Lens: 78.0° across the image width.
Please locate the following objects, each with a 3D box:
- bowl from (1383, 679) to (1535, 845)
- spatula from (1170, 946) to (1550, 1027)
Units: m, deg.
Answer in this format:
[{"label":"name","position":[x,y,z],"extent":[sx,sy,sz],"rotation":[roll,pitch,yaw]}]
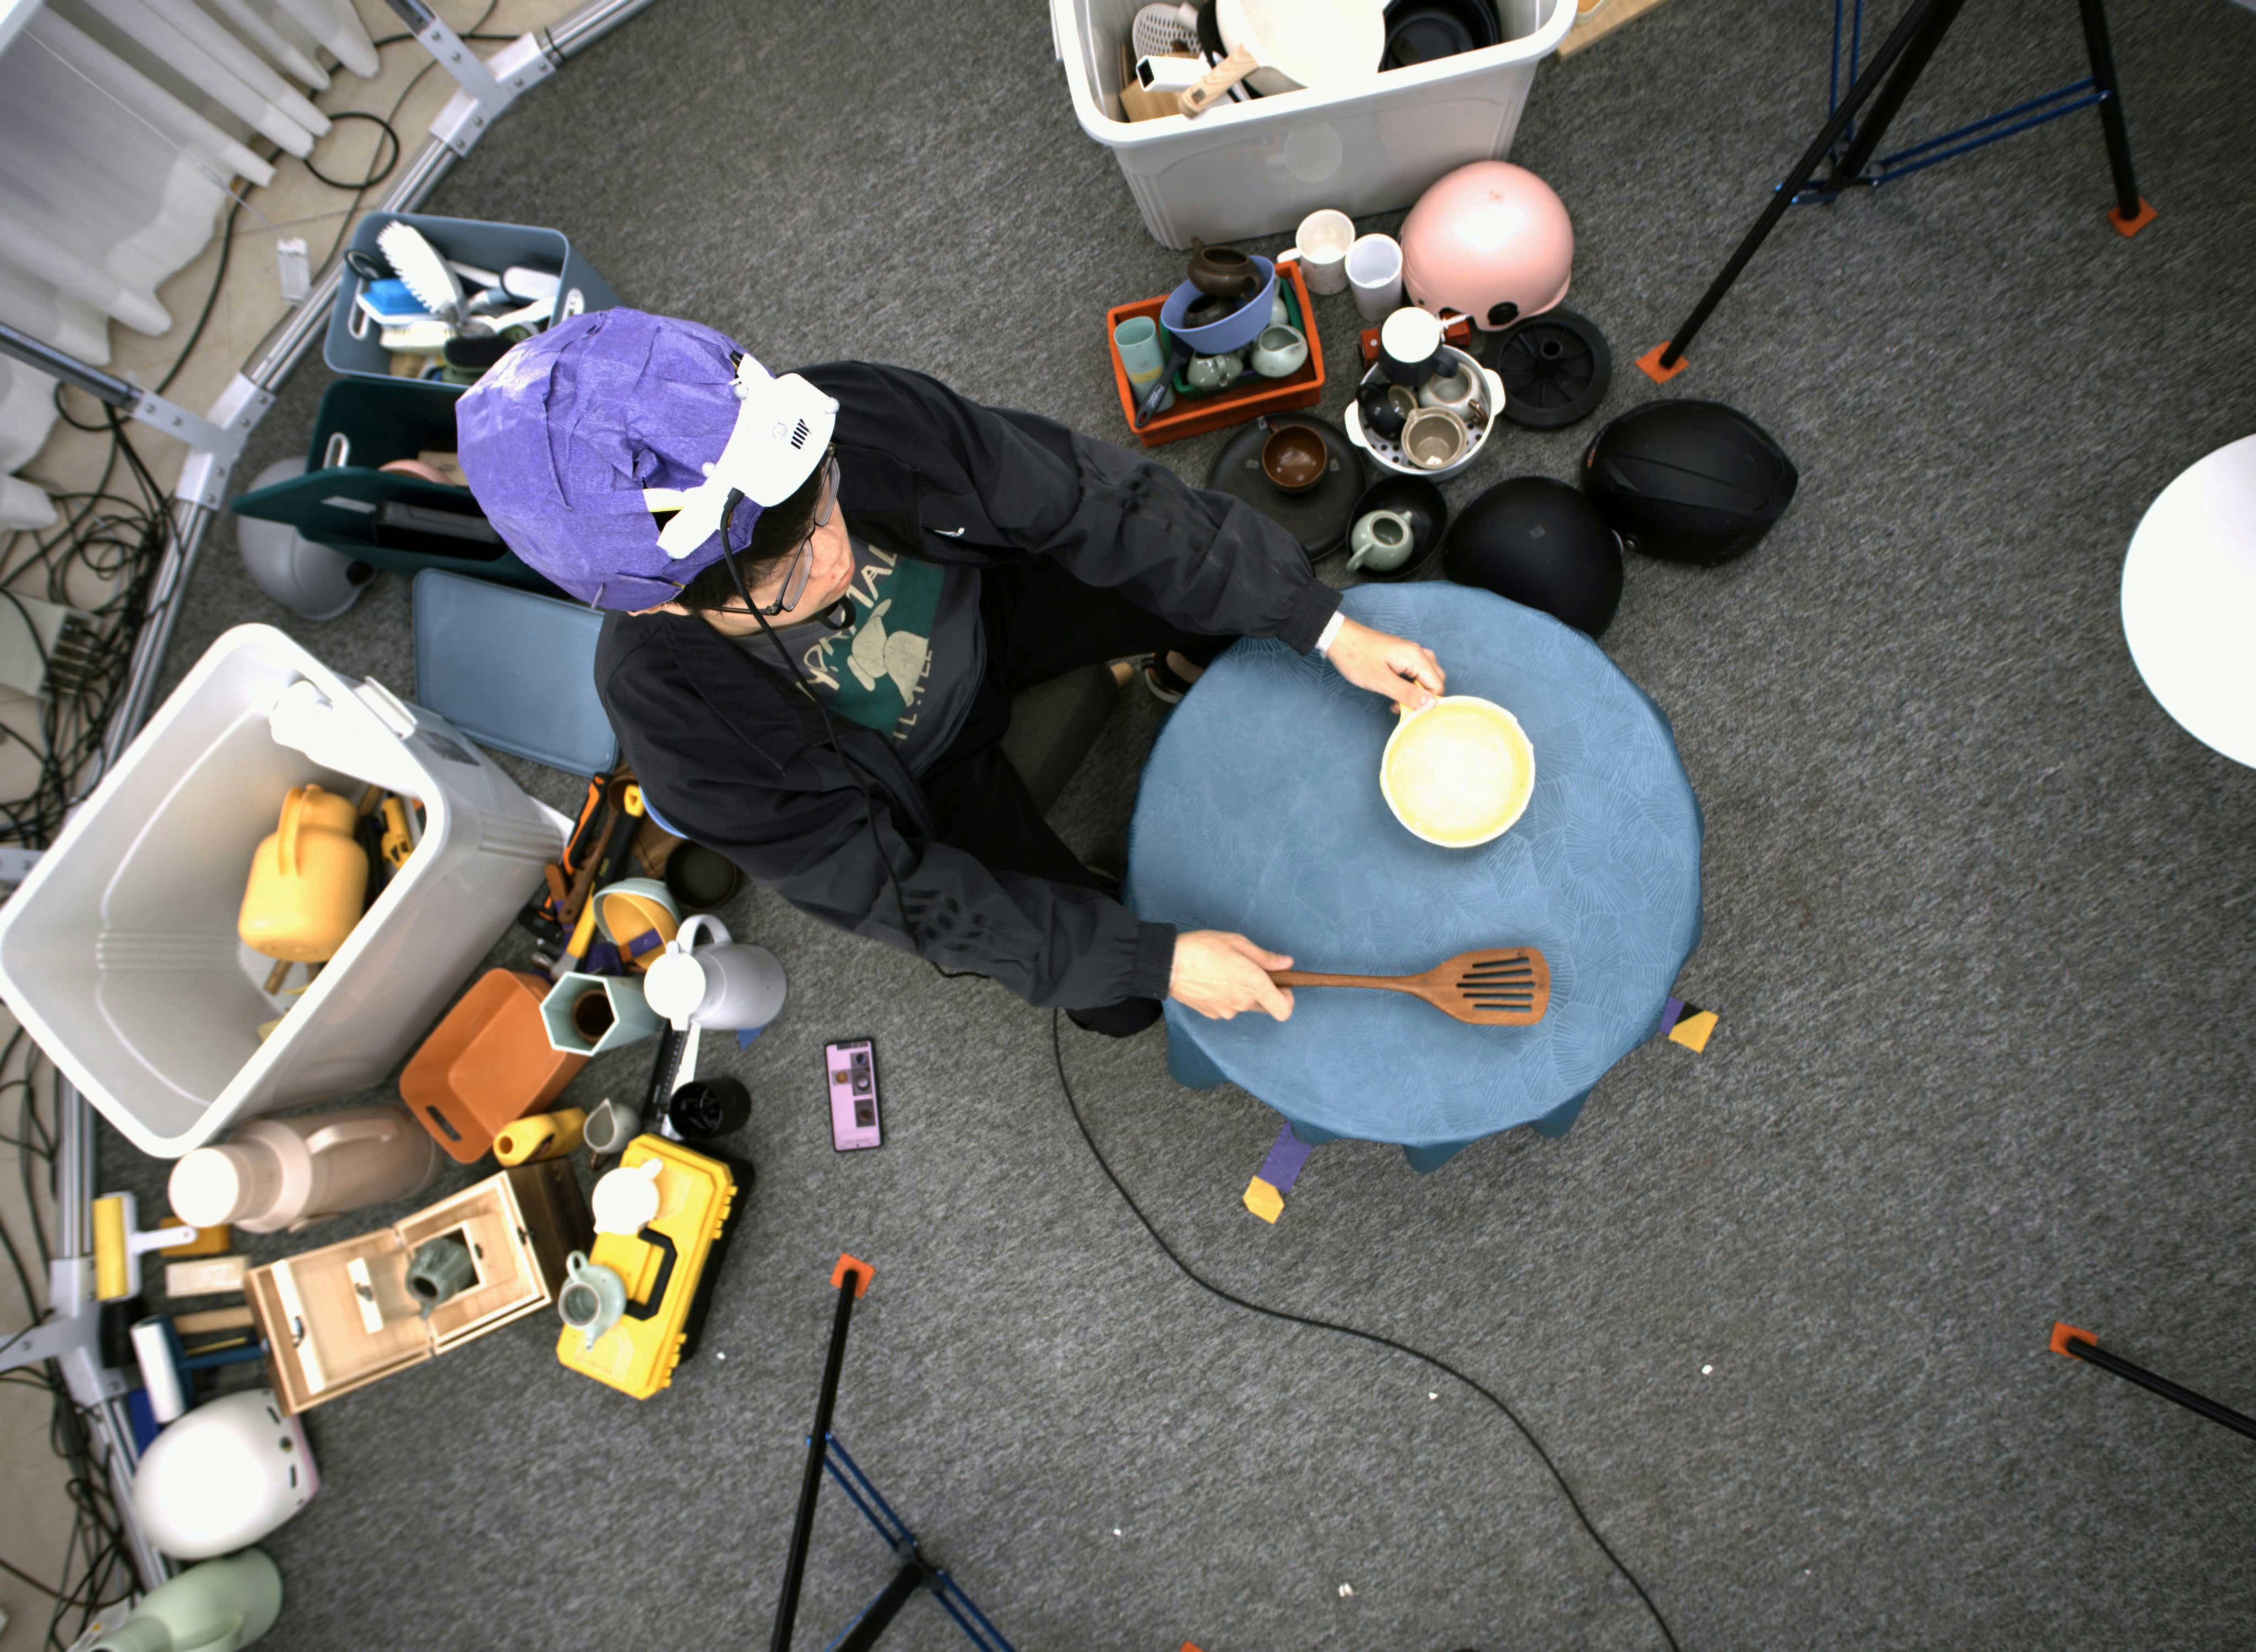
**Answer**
[{"label":"bowl","position":[0.330,-0.071,1.416],"extent":[0.154,0.074,0.179],"rotation":[-36,89,8]},{"label":"spatula","position":[0.234,0.156,1.423],"extent":[0.388,0.024,0.084],"rotation":[2,70,10]}]
